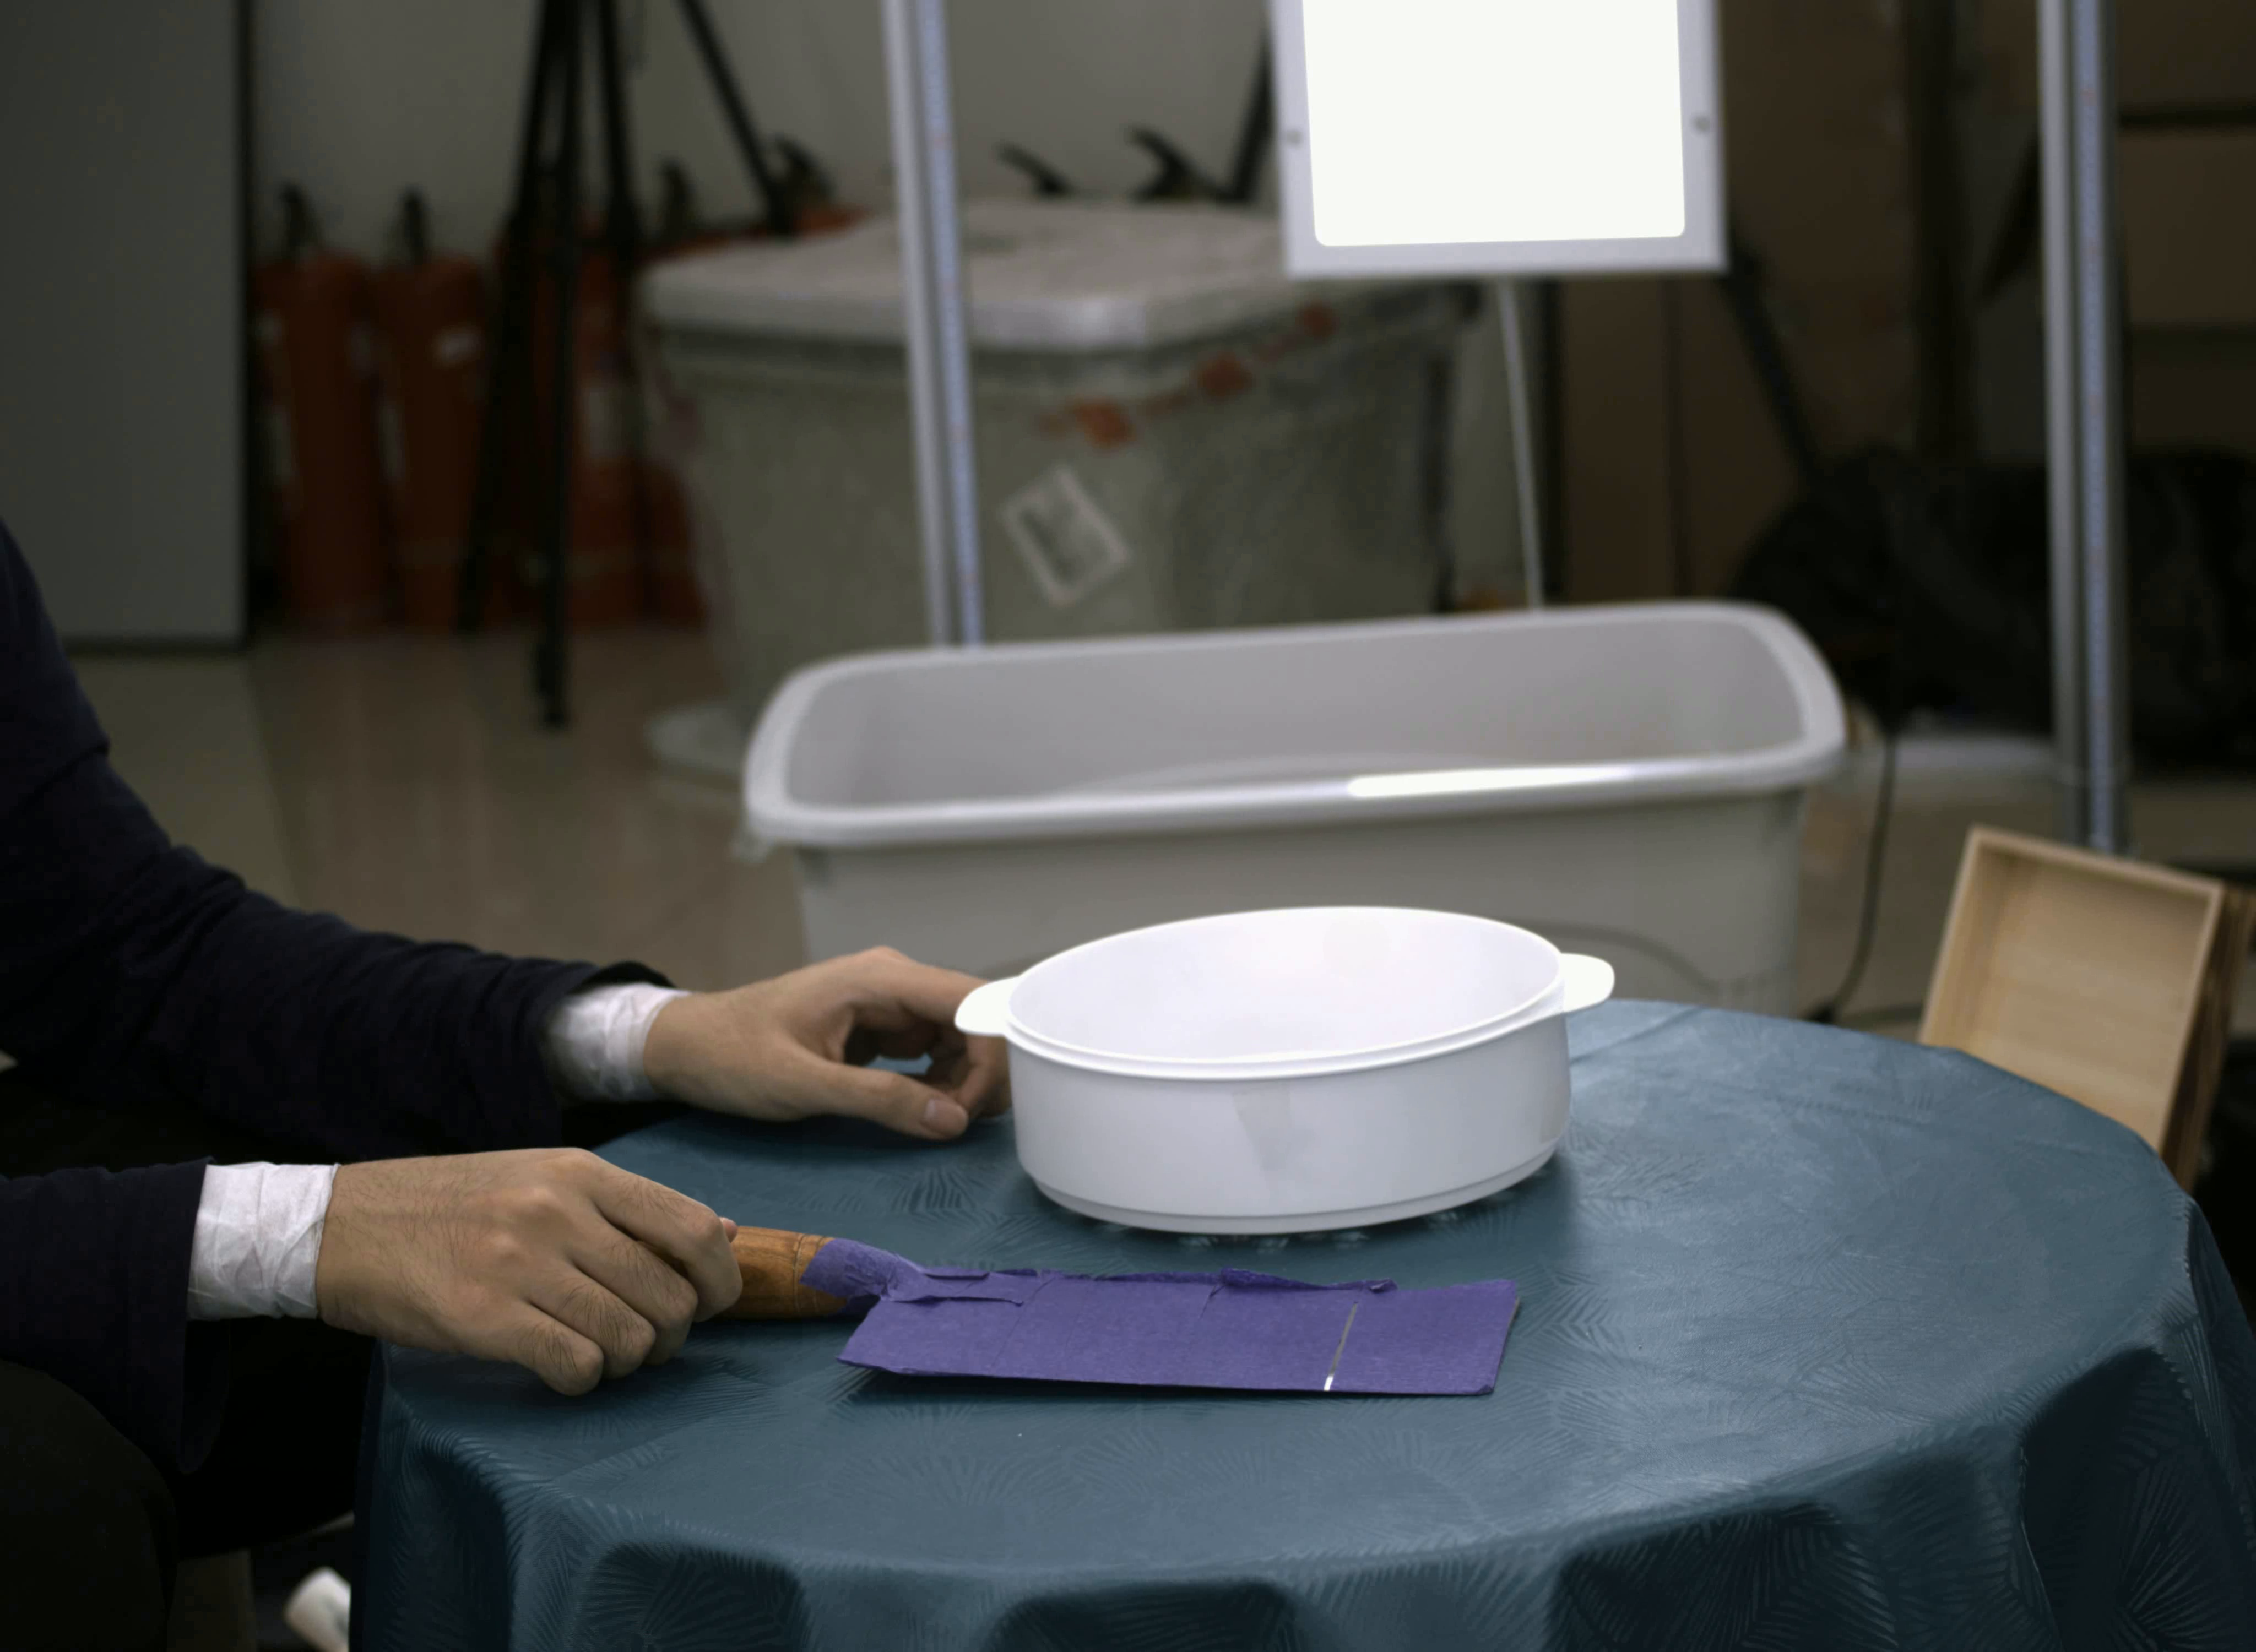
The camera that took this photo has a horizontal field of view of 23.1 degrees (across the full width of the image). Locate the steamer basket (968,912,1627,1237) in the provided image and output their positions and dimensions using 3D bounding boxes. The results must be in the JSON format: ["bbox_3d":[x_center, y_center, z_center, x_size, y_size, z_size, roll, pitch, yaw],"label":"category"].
[{"bbox_3d":[0.062,0.086,1.908,0.232,0.069,0.200,-5,12,11],"label":"steamer basket"}]

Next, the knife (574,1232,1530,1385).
[{"bbox_3d":[-0.032,0.153,1.749,0.318,0.032,0.102,-1,14,14],"label":"knife"}]
